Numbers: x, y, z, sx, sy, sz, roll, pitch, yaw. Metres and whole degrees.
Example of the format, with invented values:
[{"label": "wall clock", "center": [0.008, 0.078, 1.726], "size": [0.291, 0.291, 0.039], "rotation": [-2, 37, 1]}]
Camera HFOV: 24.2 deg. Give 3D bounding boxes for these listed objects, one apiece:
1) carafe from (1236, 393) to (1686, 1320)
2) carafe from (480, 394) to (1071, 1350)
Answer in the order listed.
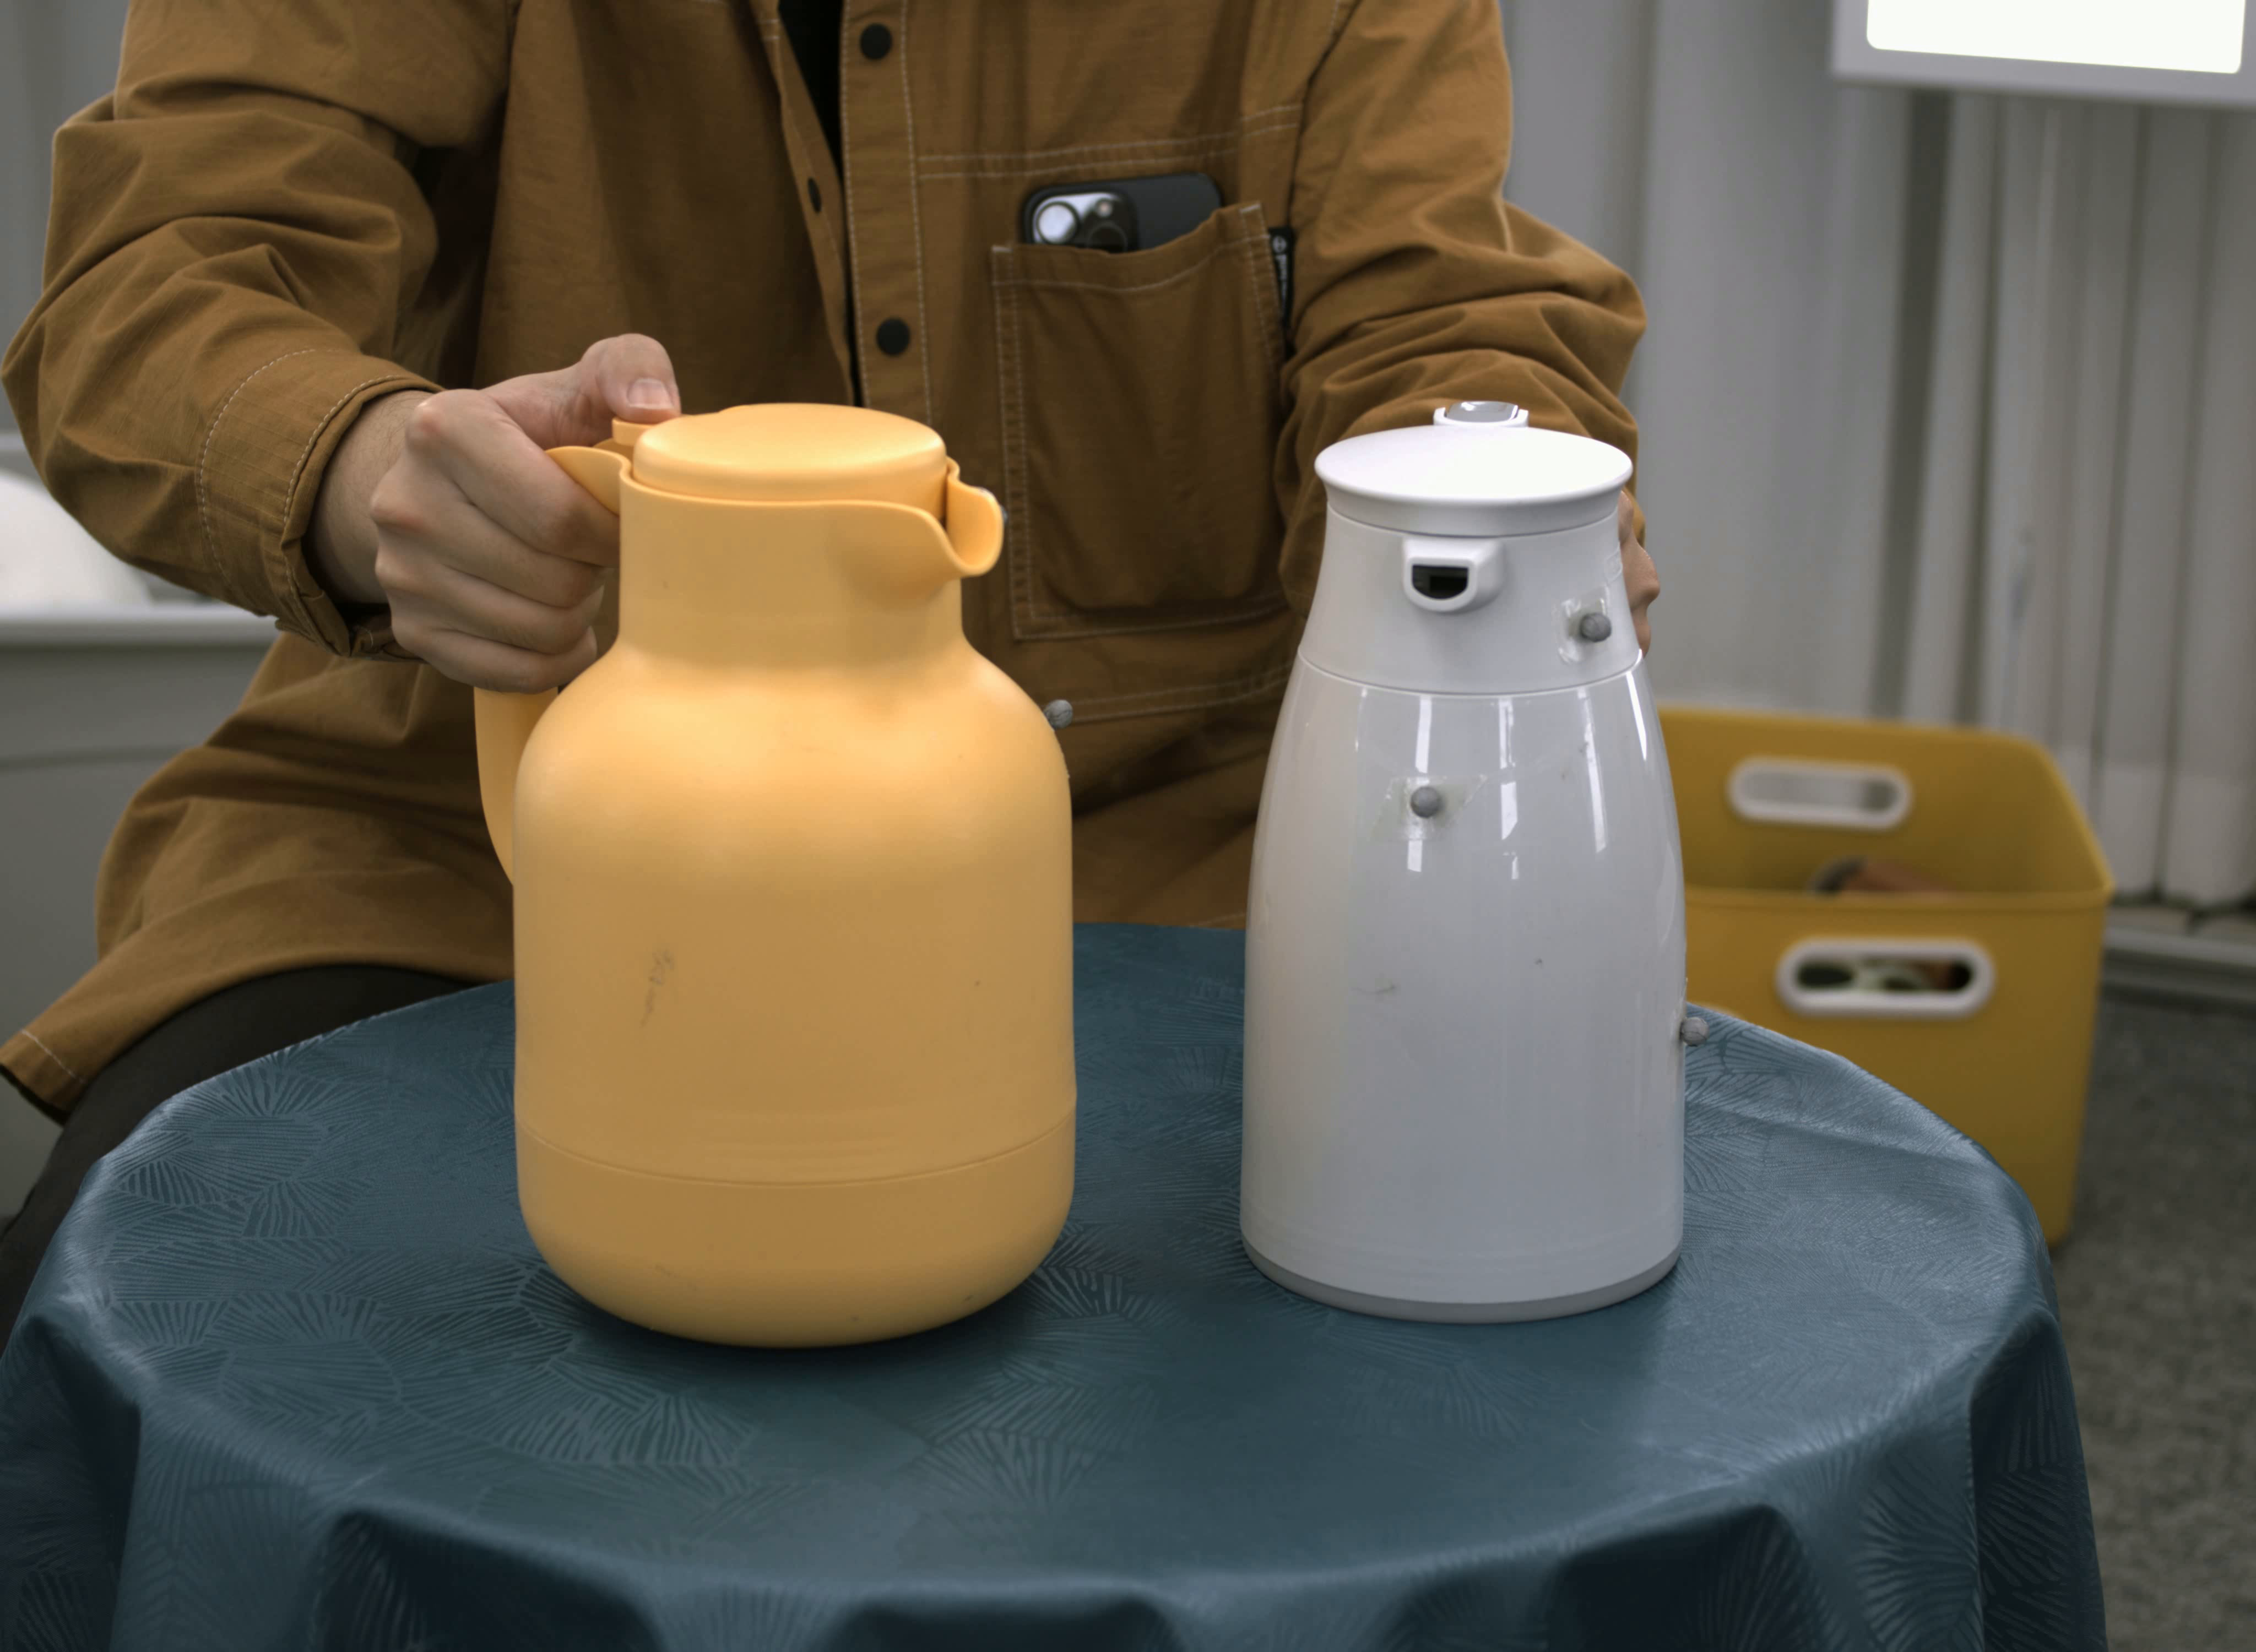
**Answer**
[{"label": "carafe", "center": [0.101, 0.000, 1.556], "size": [0.131, 0.251, 0.167], "rotation": [3, 17, 10]}, {"label": "carafe", "center": [-0.110, 0.005, 1.517], "size": [0.199, 0.262, 0.164], "rotation": [16, 20, 40]}]
